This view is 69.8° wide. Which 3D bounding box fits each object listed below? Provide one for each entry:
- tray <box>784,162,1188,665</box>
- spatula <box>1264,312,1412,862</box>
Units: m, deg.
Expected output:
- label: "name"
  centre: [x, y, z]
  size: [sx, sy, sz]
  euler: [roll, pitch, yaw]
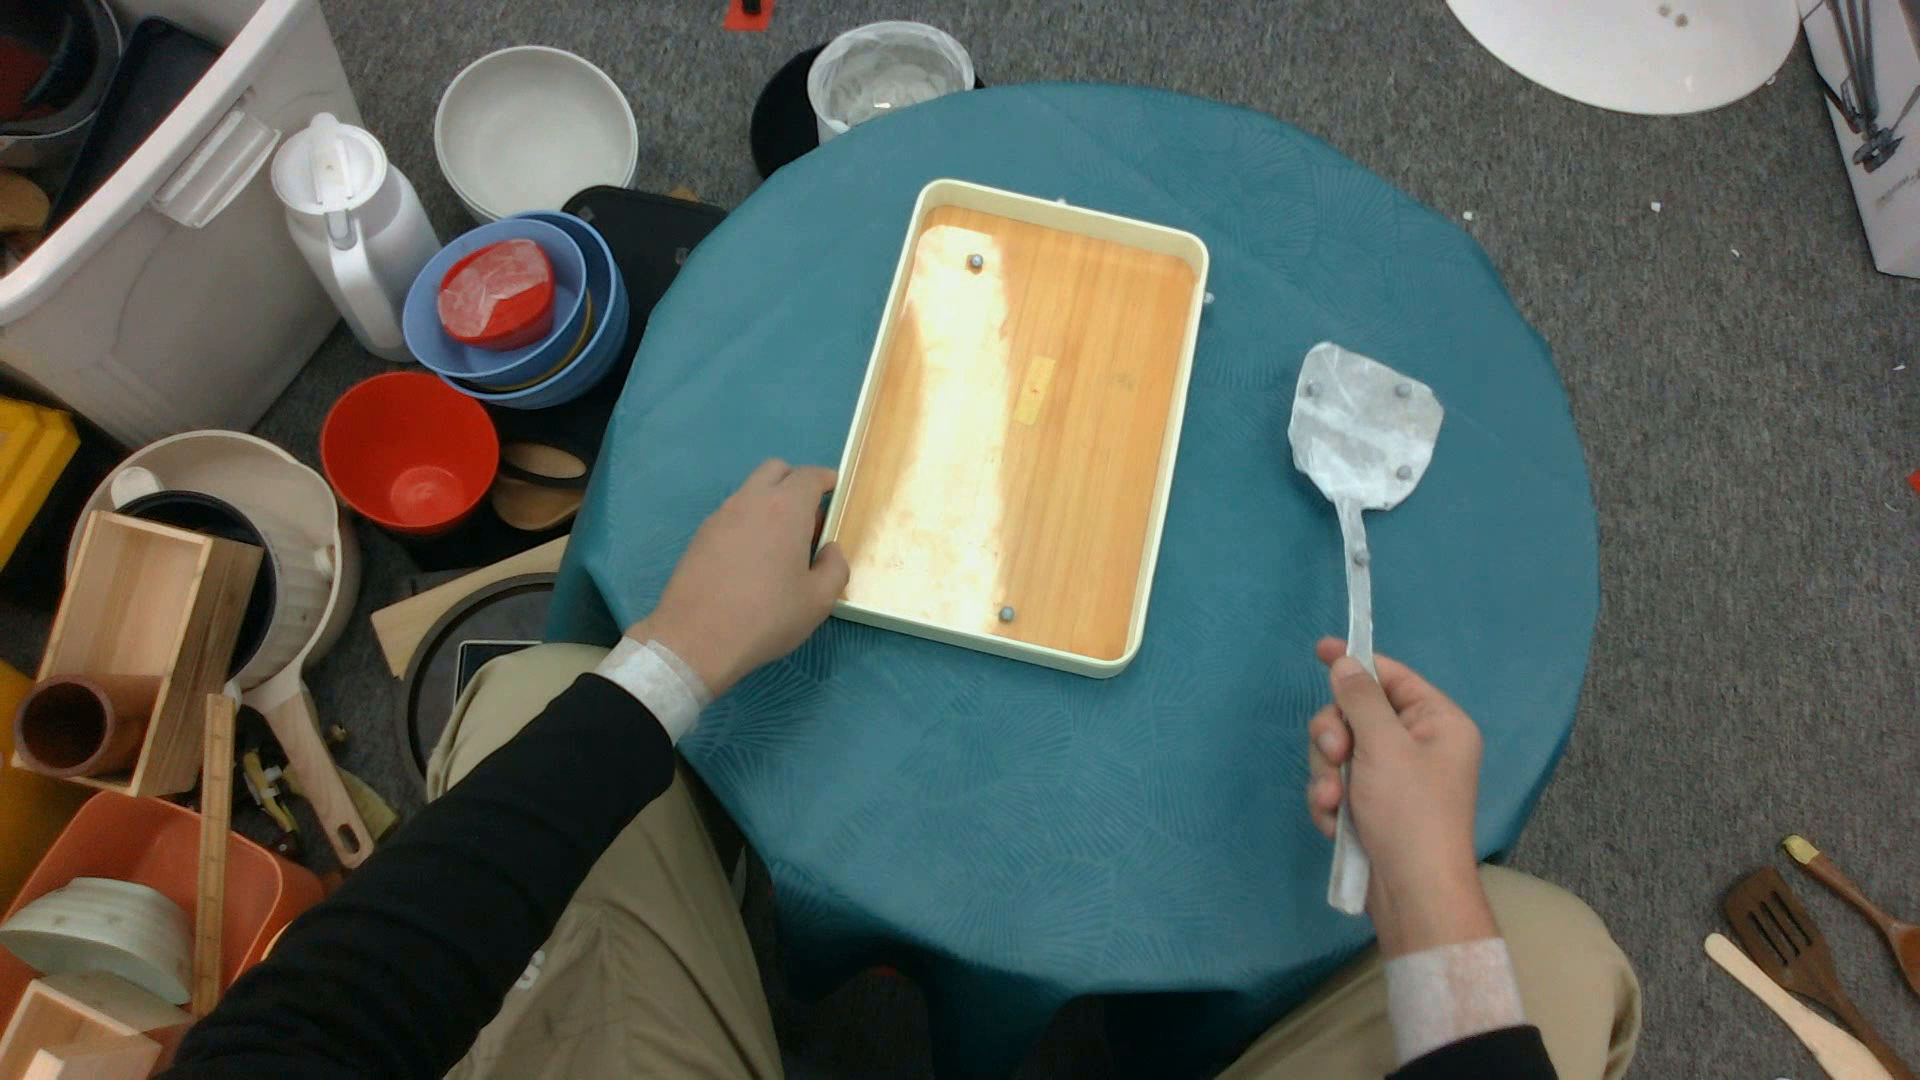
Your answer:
- label: "tray"
  centre: [0.022, -0.085, 0.829]
  size: [0.191, 0.027, 0.301]
  euler: [14, 67, 1]
- label: "spatula"
  centre: [0.204, 0.013, 0.756]
  size: [0.099, 0.044, 0.367]
  euler: [25, 47, -12]
